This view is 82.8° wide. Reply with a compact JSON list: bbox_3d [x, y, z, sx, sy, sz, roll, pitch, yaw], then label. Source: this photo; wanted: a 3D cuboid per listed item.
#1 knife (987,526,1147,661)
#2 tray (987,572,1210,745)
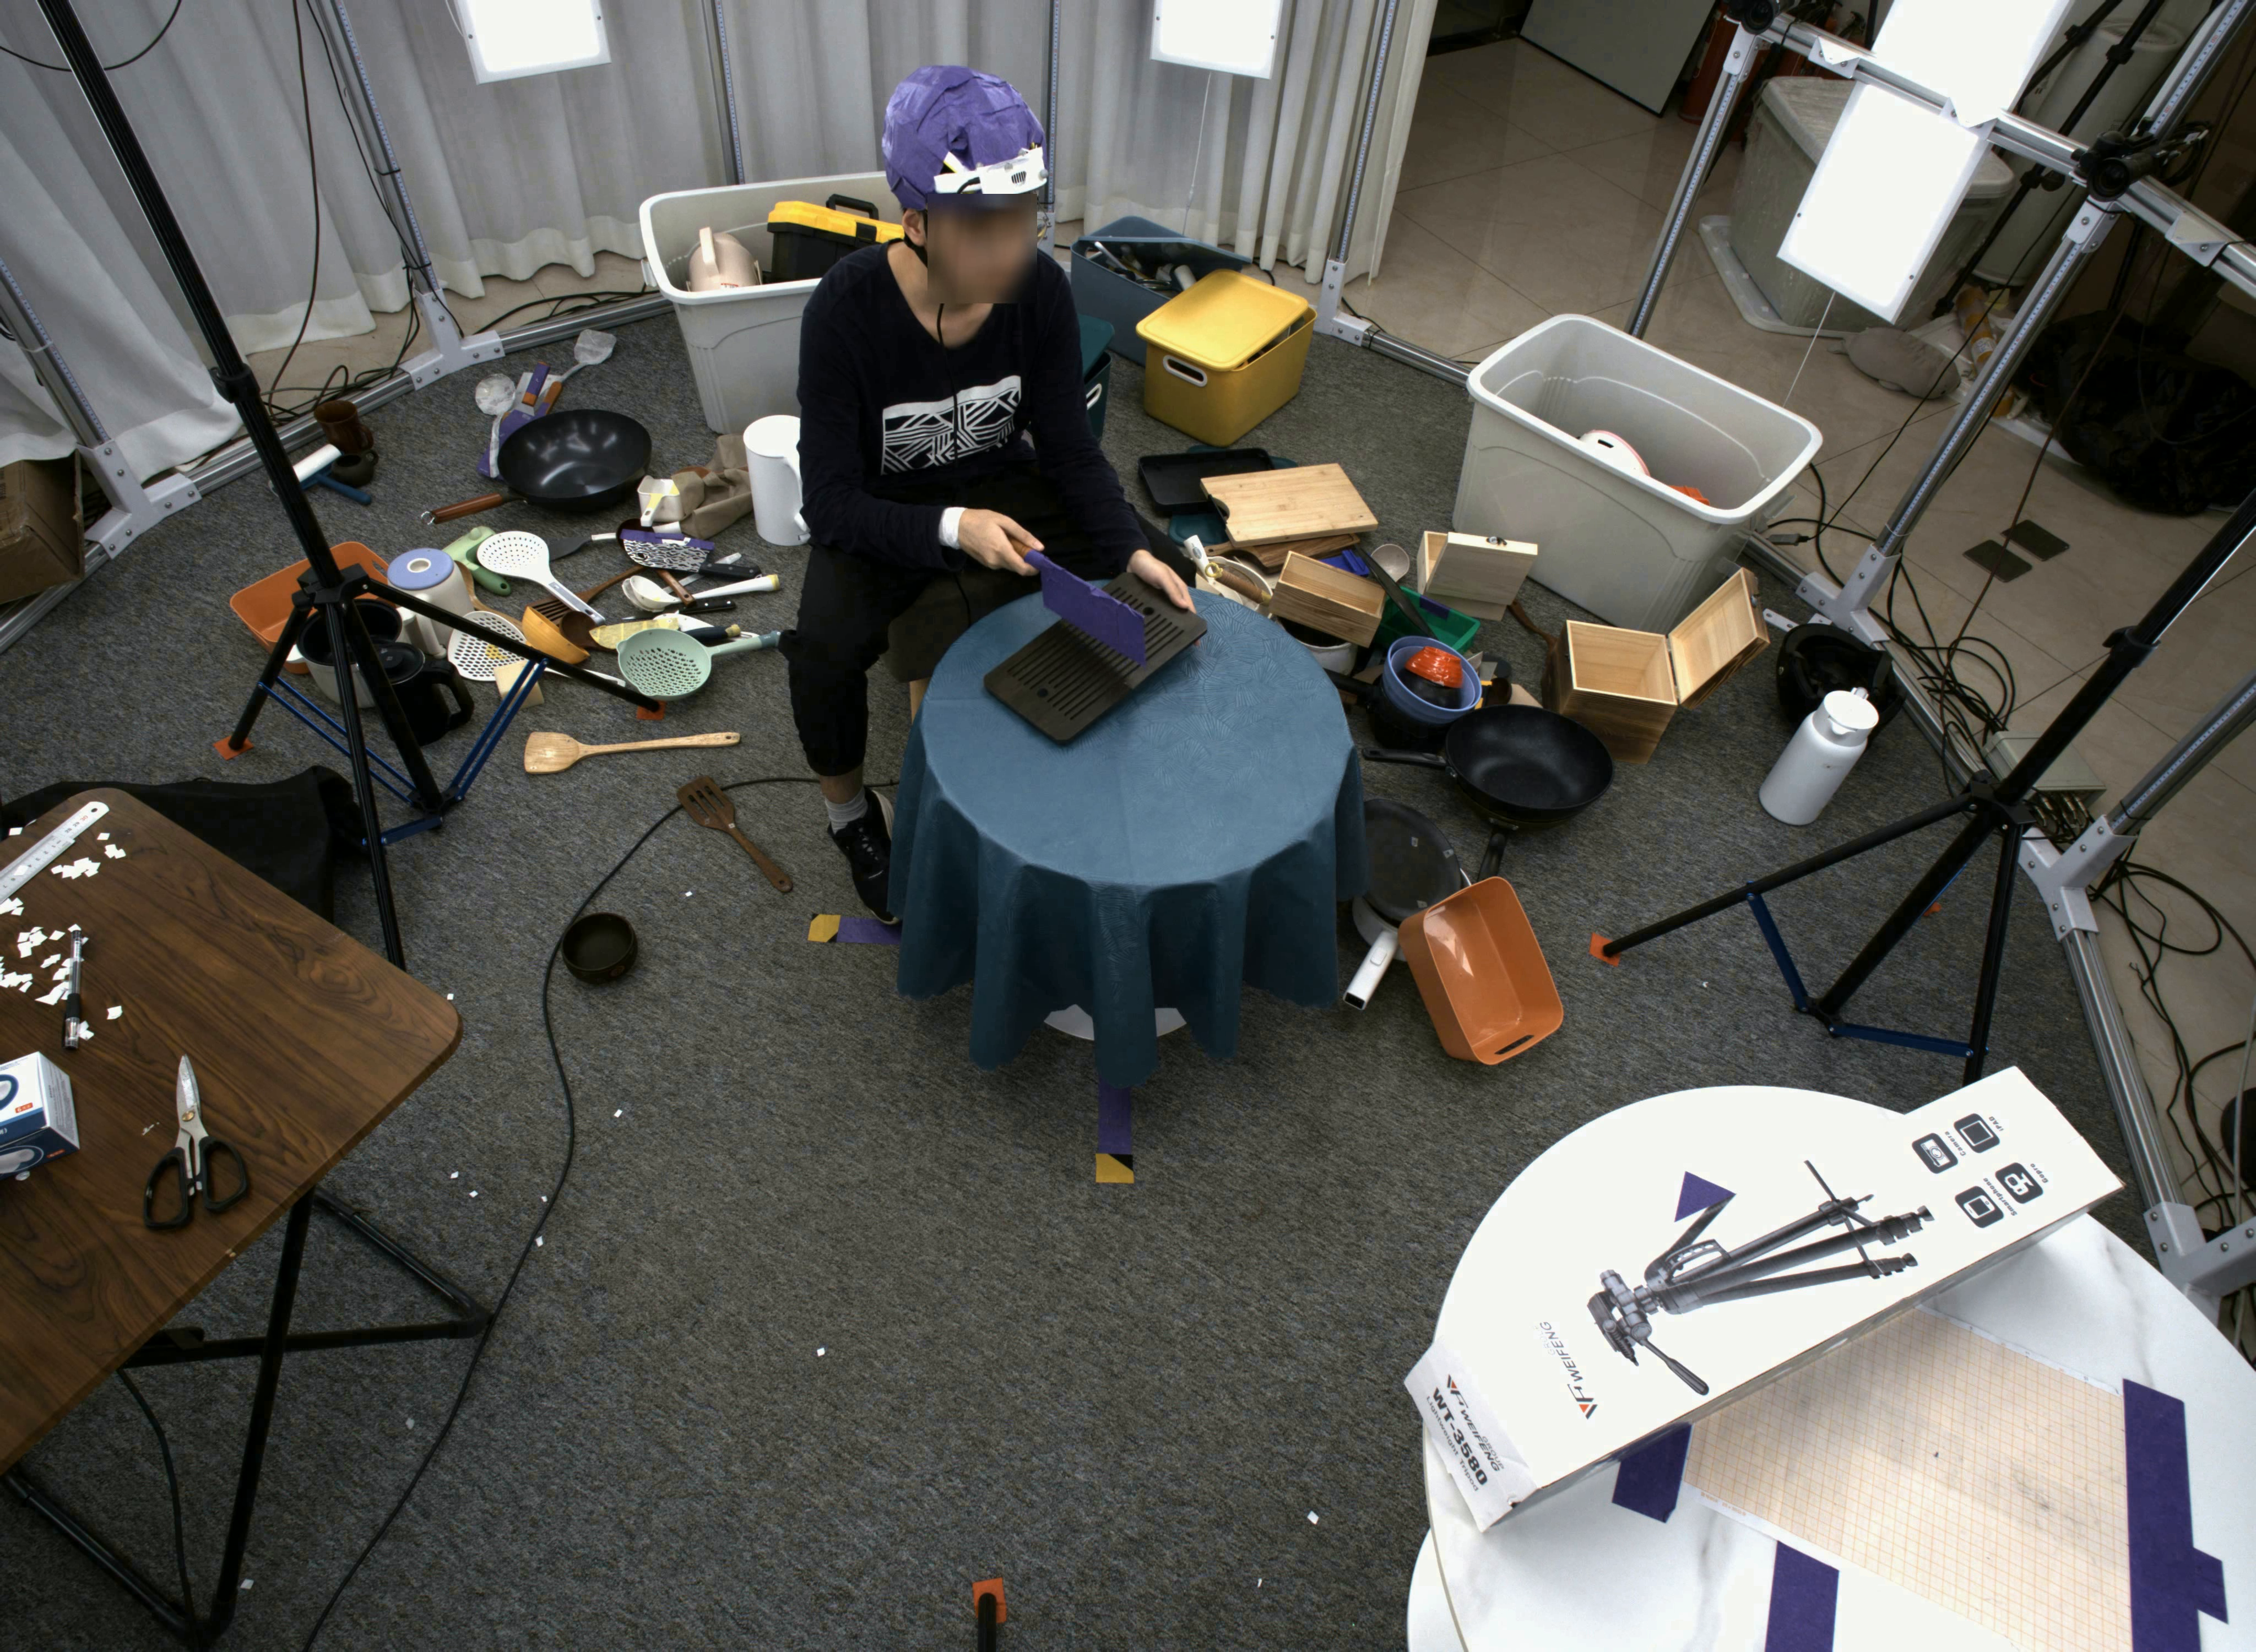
[{"bbox_3d":[-0.088,-0.328,1.831,0.032,0.101,0.320,-33,52,-27],"label":"knife"},{"bbox_3d":[-0.040,-0.244,1.844,0.172,0.018,0.309,37,63,25],"label":"tray"}]
